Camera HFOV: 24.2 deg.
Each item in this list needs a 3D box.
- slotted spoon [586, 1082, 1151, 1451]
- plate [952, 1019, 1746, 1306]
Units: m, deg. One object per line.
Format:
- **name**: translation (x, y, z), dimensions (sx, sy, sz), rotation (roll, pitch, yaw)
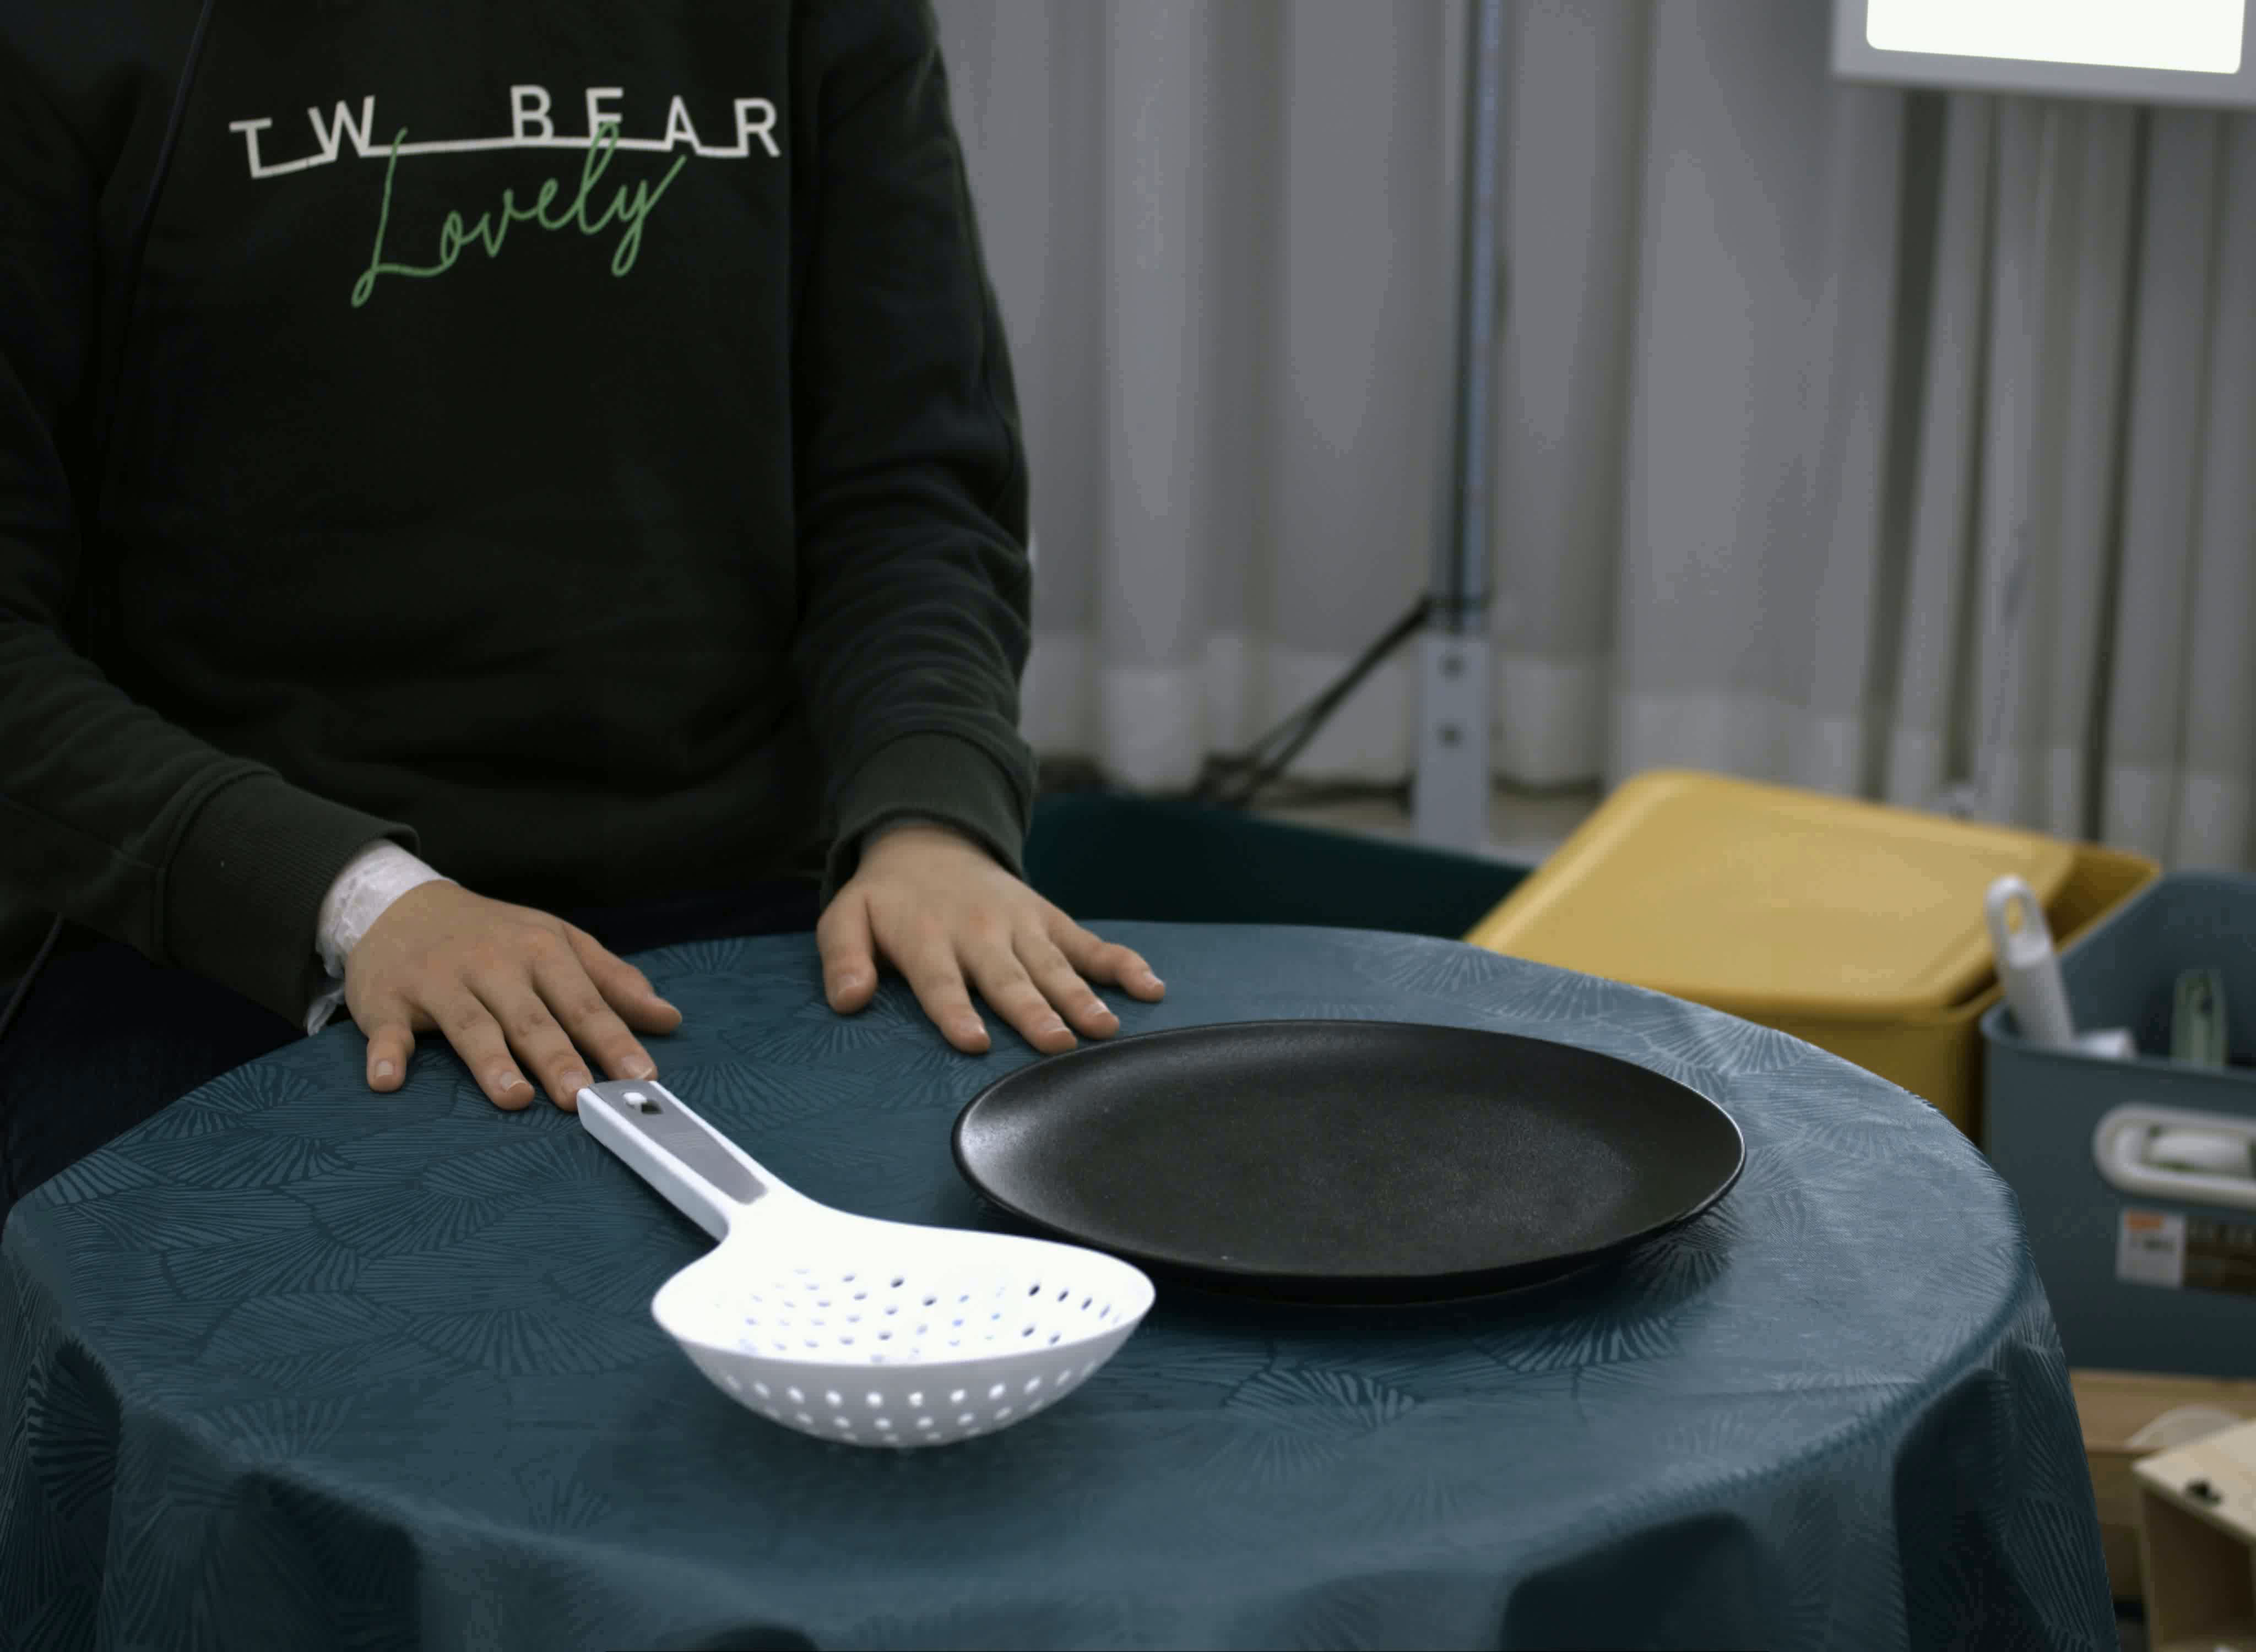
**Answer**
- **slotted spoon**: translation (-0.100, 0.117, 1.522), dimensions (0.136, 0.046, 0.346), rotation (-3, 15, -21)
- **plate**: translation (0.067, 0.105, 1.612), dimensions (0.243, 0.023, 0.243), rotation (1, 16, 0)
